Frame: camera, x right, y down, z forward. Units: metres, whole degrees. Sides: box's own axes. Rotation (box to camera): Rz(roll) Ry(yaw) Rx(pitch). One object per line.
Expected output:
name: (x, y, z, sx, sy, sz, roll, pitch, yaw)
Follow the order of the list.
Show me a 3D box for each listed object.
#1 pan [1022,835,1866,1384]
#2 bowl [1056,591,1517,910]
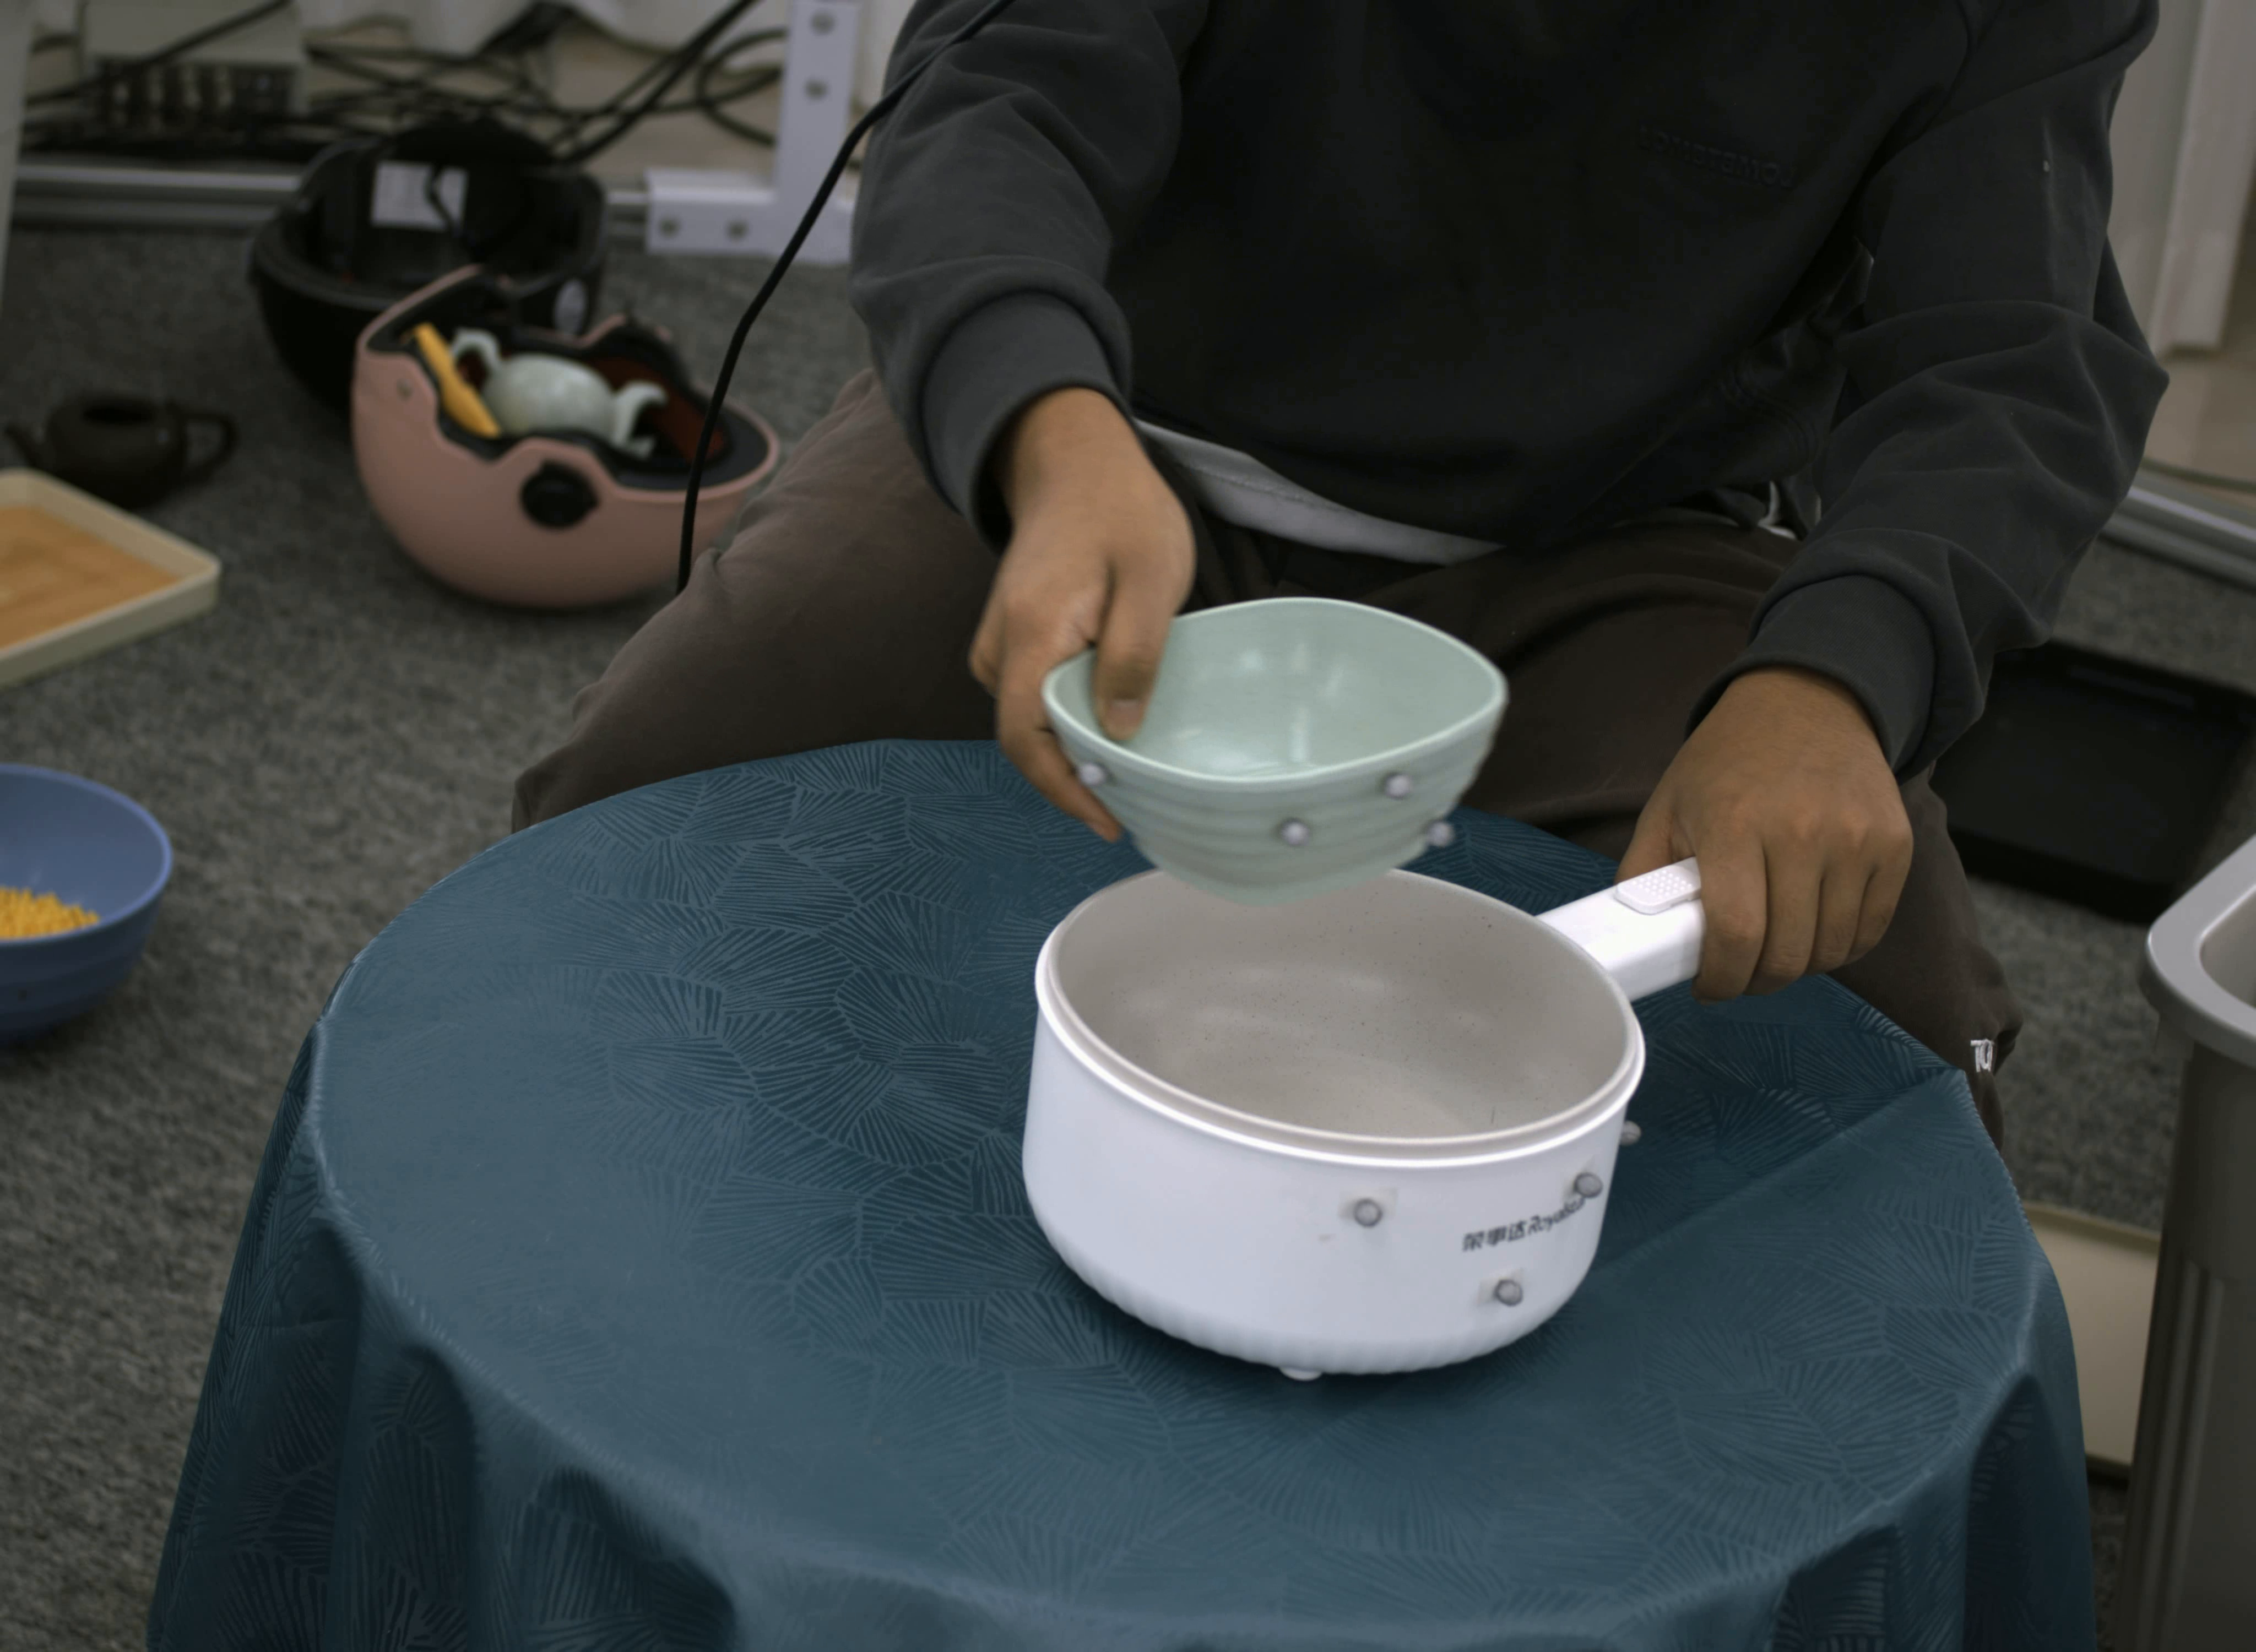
pan: (0.118, 0.086, 1.810, 0.353, 0.102, 0.203, -16, 32, -41)
bowl: (0.052, -0.020, 1.745, 0.151, 0.058, 0.152, -2, 26, 1)
